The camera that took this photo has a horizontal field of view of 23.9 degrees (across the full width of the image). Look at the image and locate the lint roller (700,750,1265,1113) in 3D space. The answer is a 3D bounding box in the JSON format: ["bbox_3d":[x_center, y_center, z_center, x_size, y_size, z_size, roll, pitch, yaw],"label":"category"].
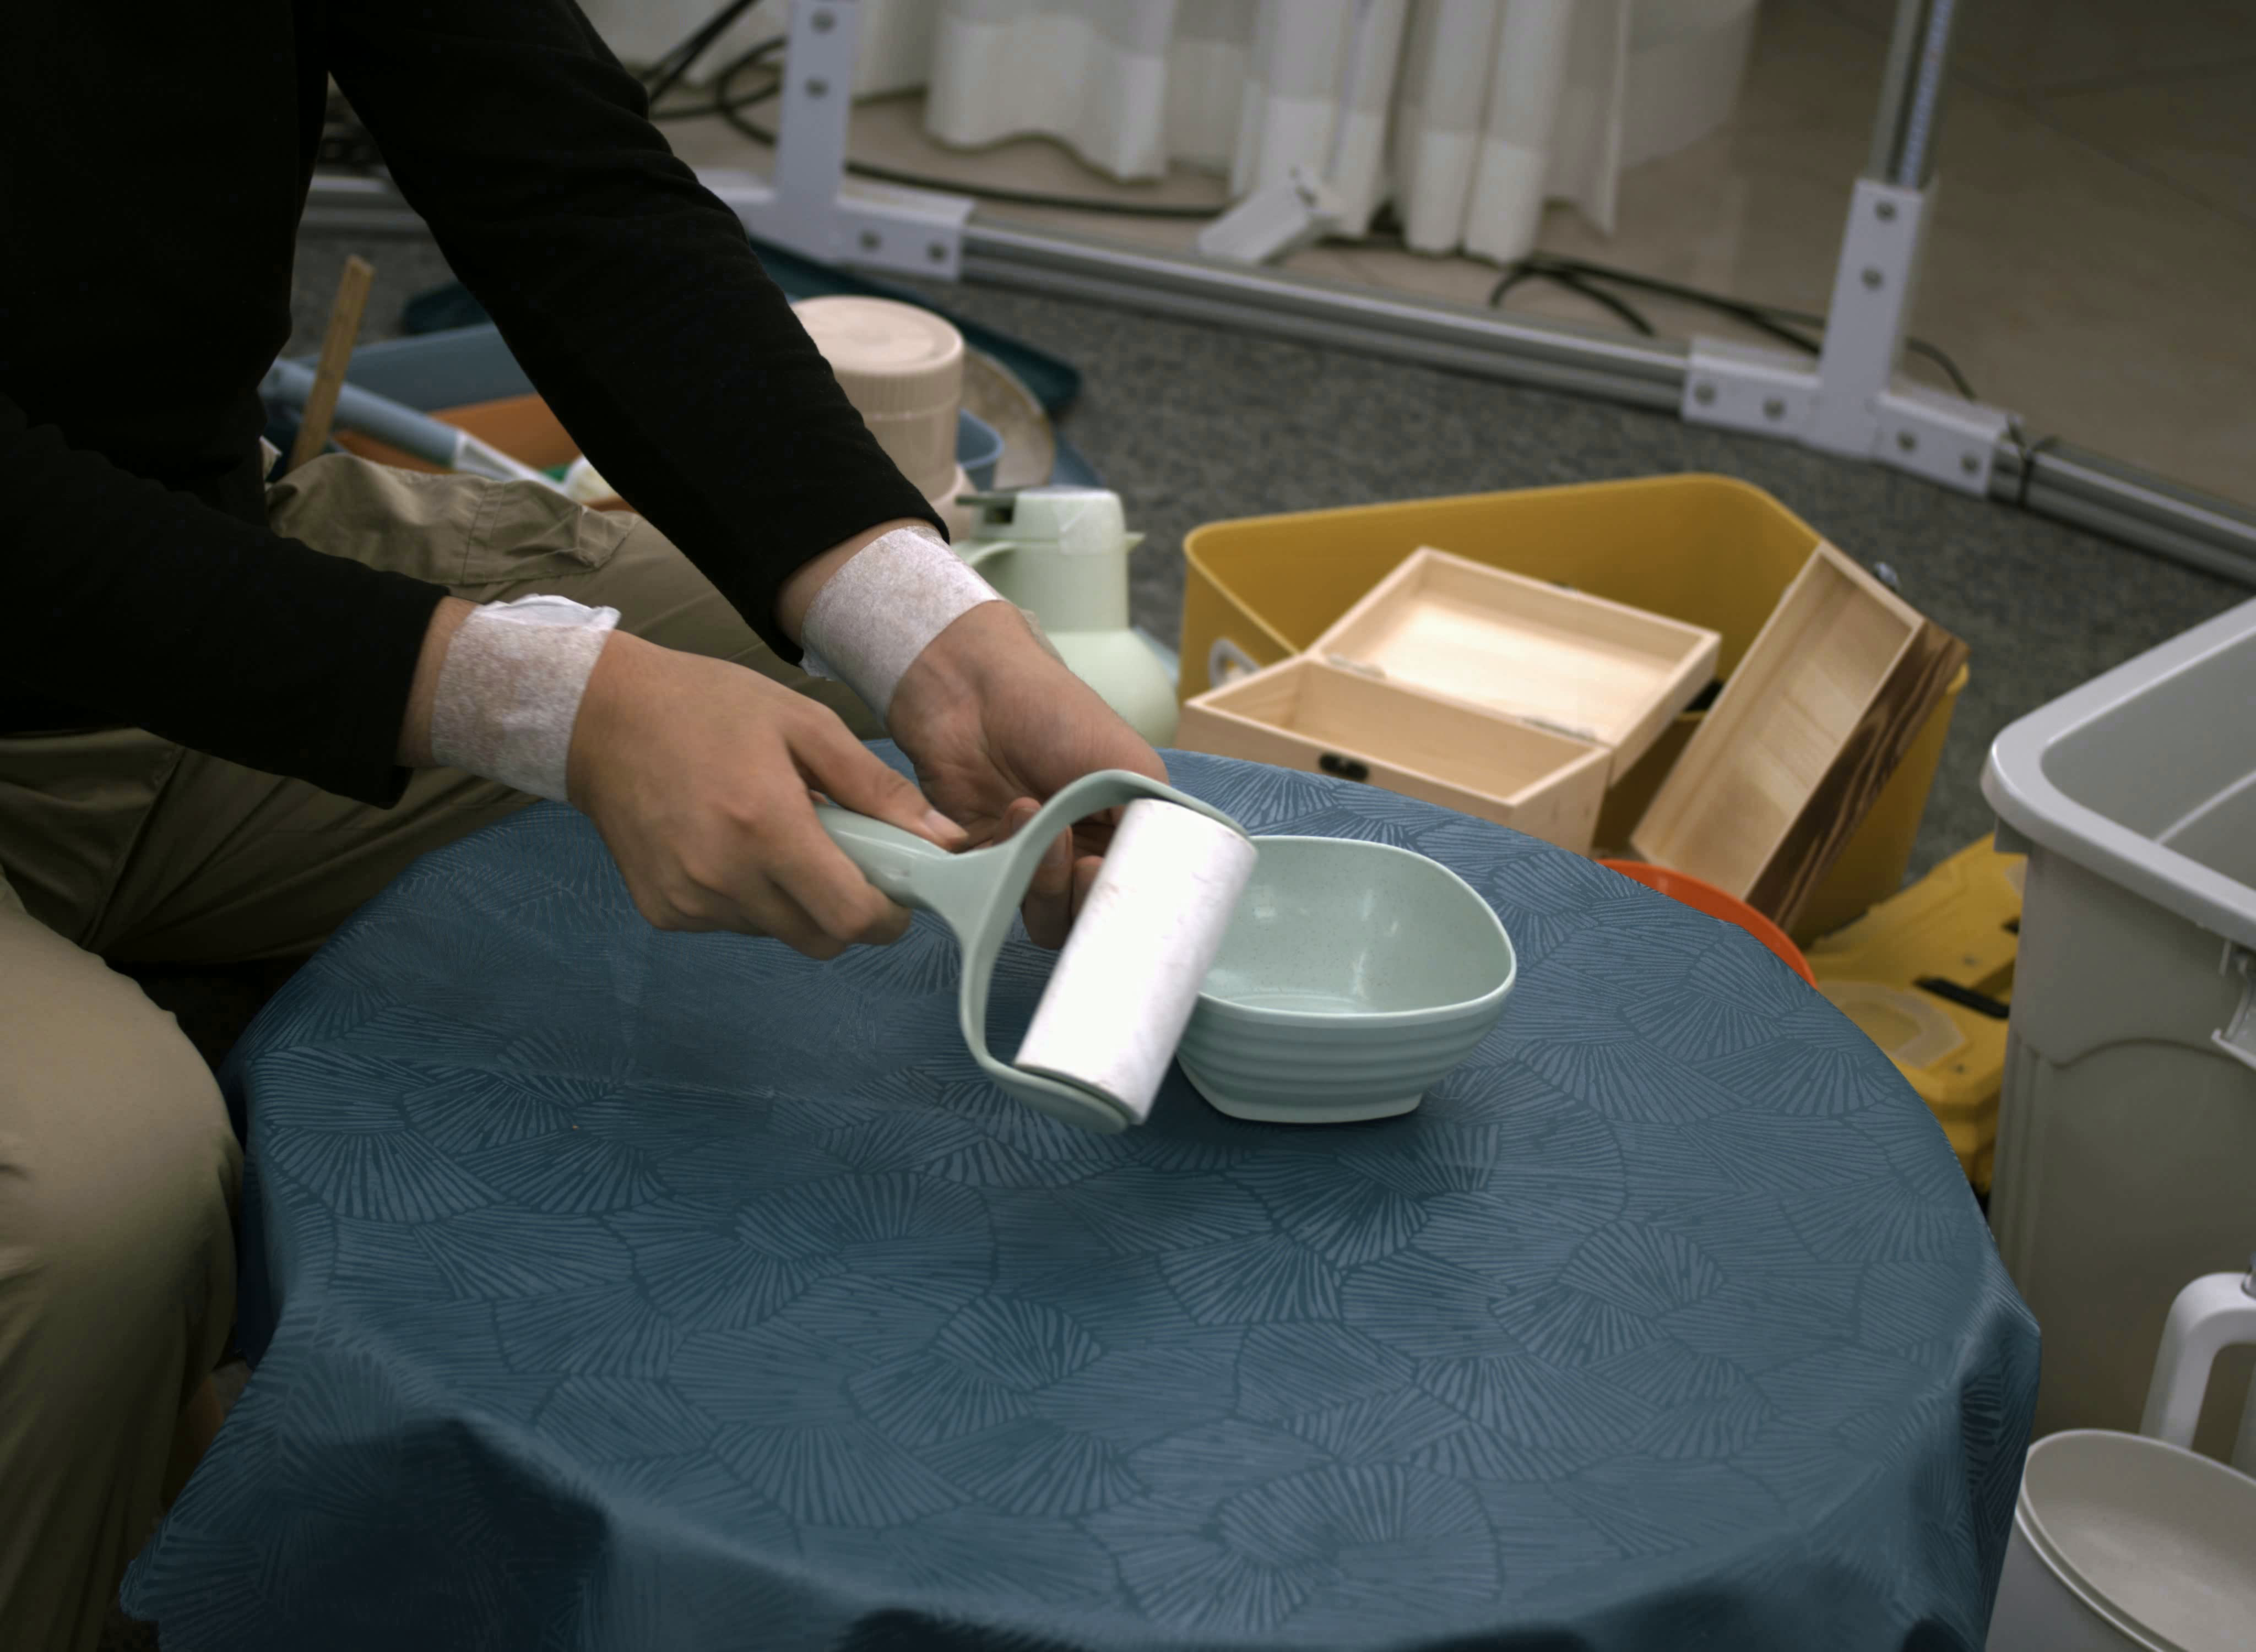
[{"bbox_3d":[-0.059,0.016,1.797,0.198,0.117,0.048,18,-15,19],"label":"lint roller"}]

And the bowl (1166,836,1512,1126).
[{"bbox_3d":[0.061,0.060,1.876,0.151,0.058,0.152,6,26,-3],"label":"bowl"}]
